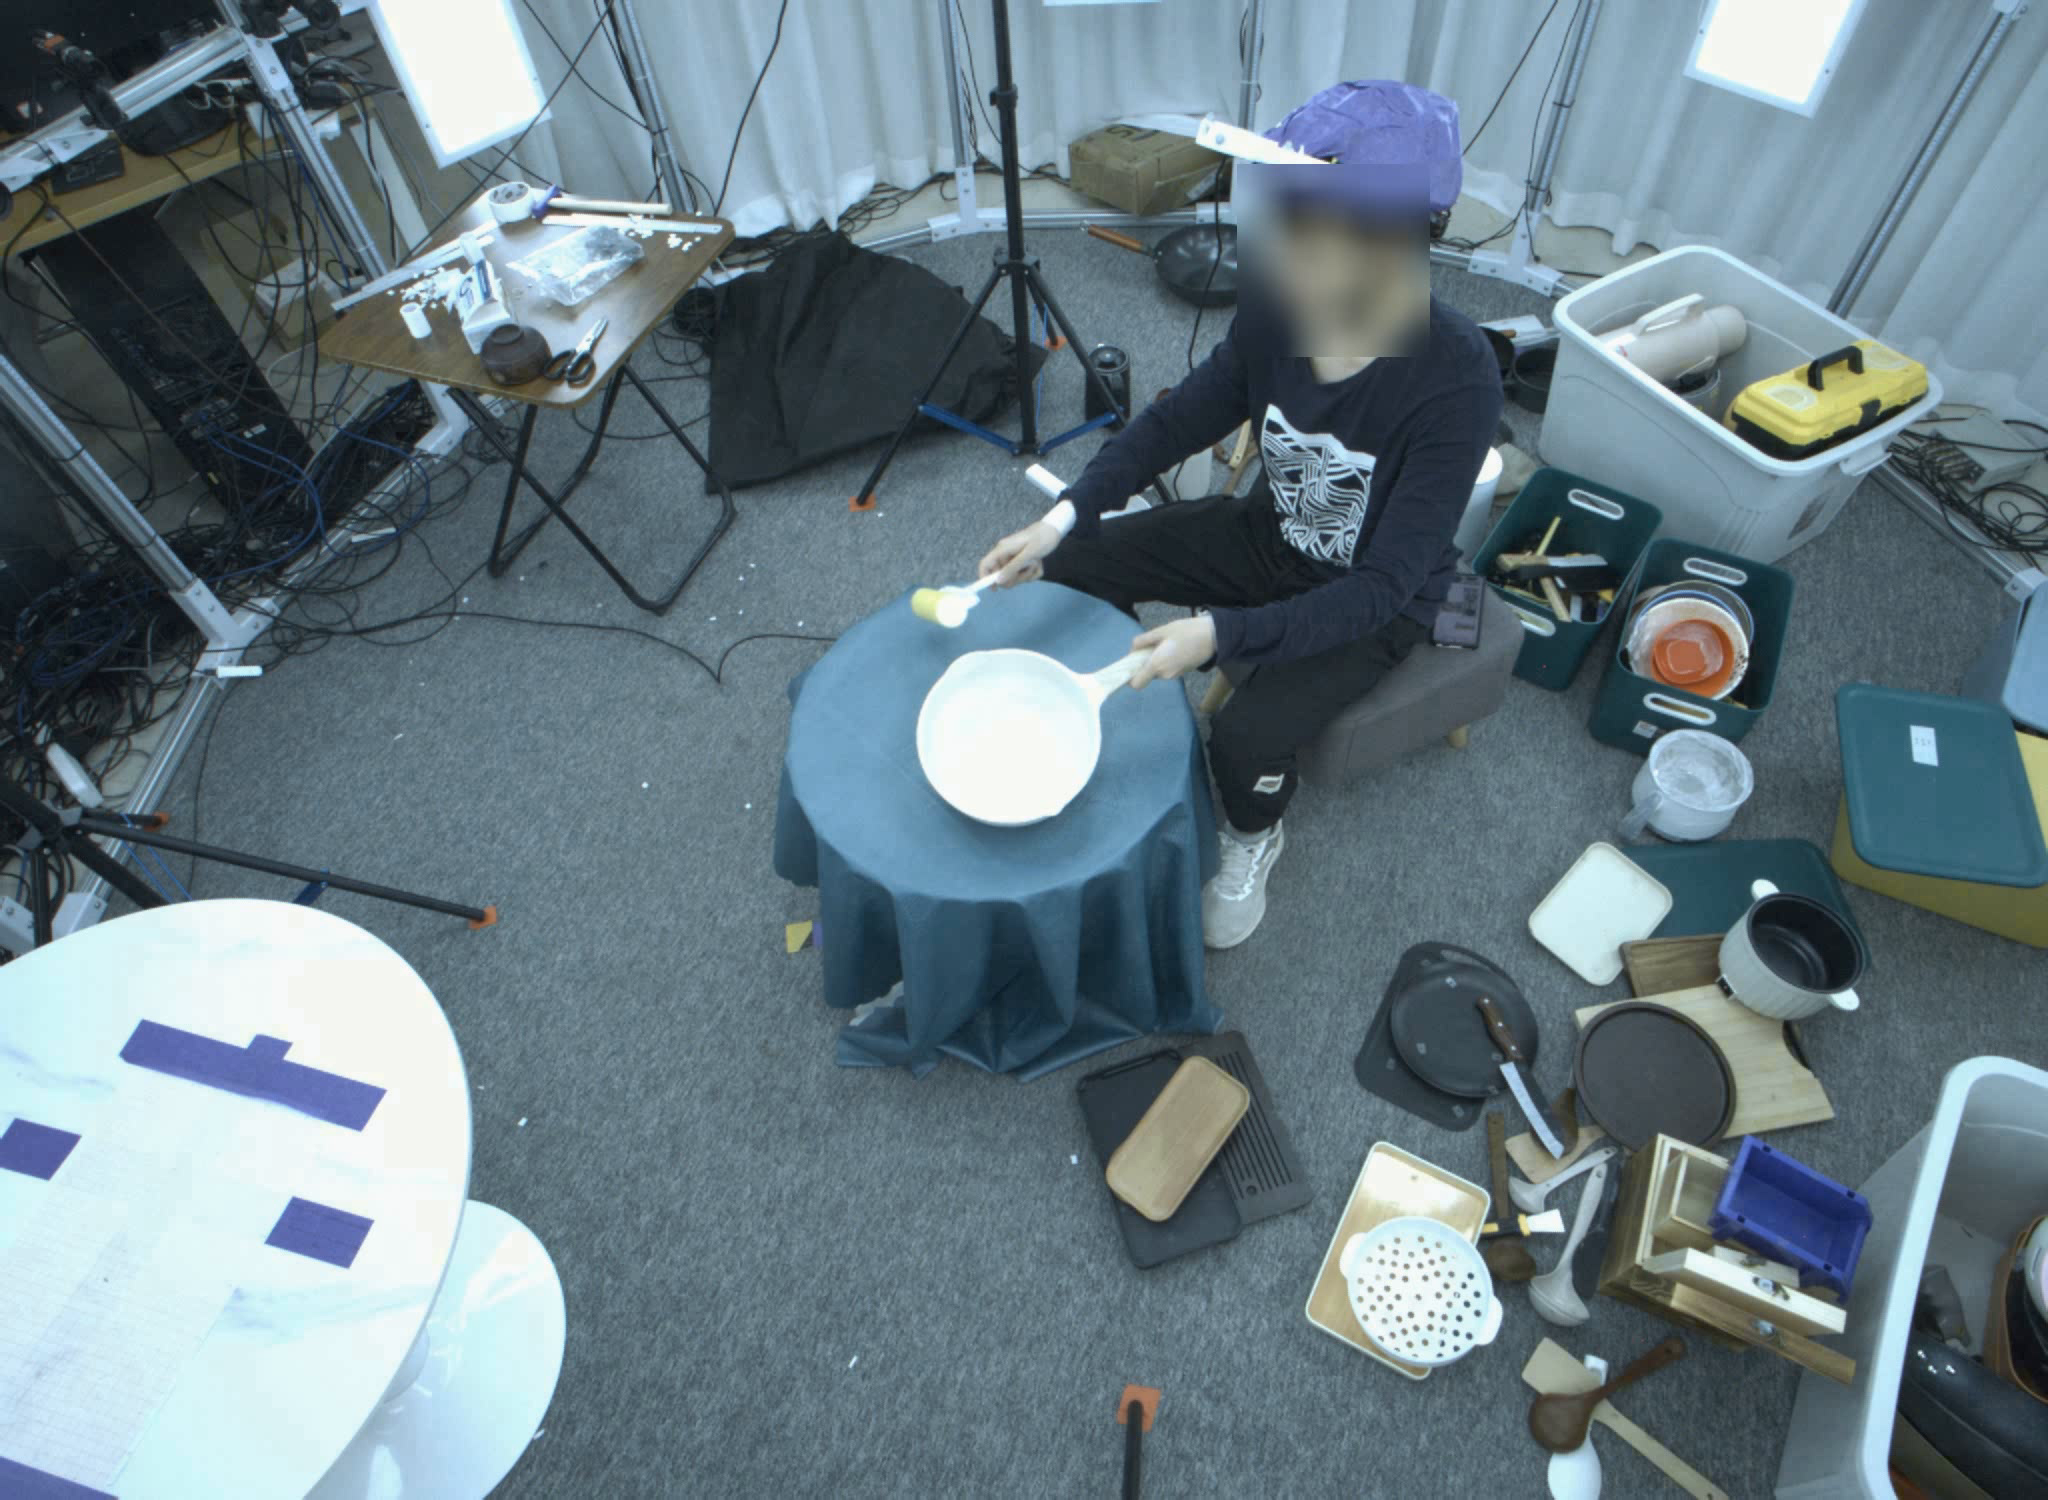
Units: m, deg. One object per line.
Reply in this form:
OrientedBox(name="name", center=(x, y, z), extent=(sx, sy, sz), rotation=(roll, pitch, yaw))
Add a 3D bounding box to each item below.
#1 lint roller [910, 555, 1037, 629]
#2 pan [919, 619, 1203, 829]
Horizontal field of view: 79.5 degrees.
OrientedBox(name="lint roller", center=(-0.070, -0.252, 1.829), extent=(0.193, 0.052, 0.171), rotation=(-36, 21, -10))
OrientedBox(name="pan", center=(0.062, -0.053, 1.727), extent=(0.437, 0.102, 0.260), rotation=(-29, 73, -10))
